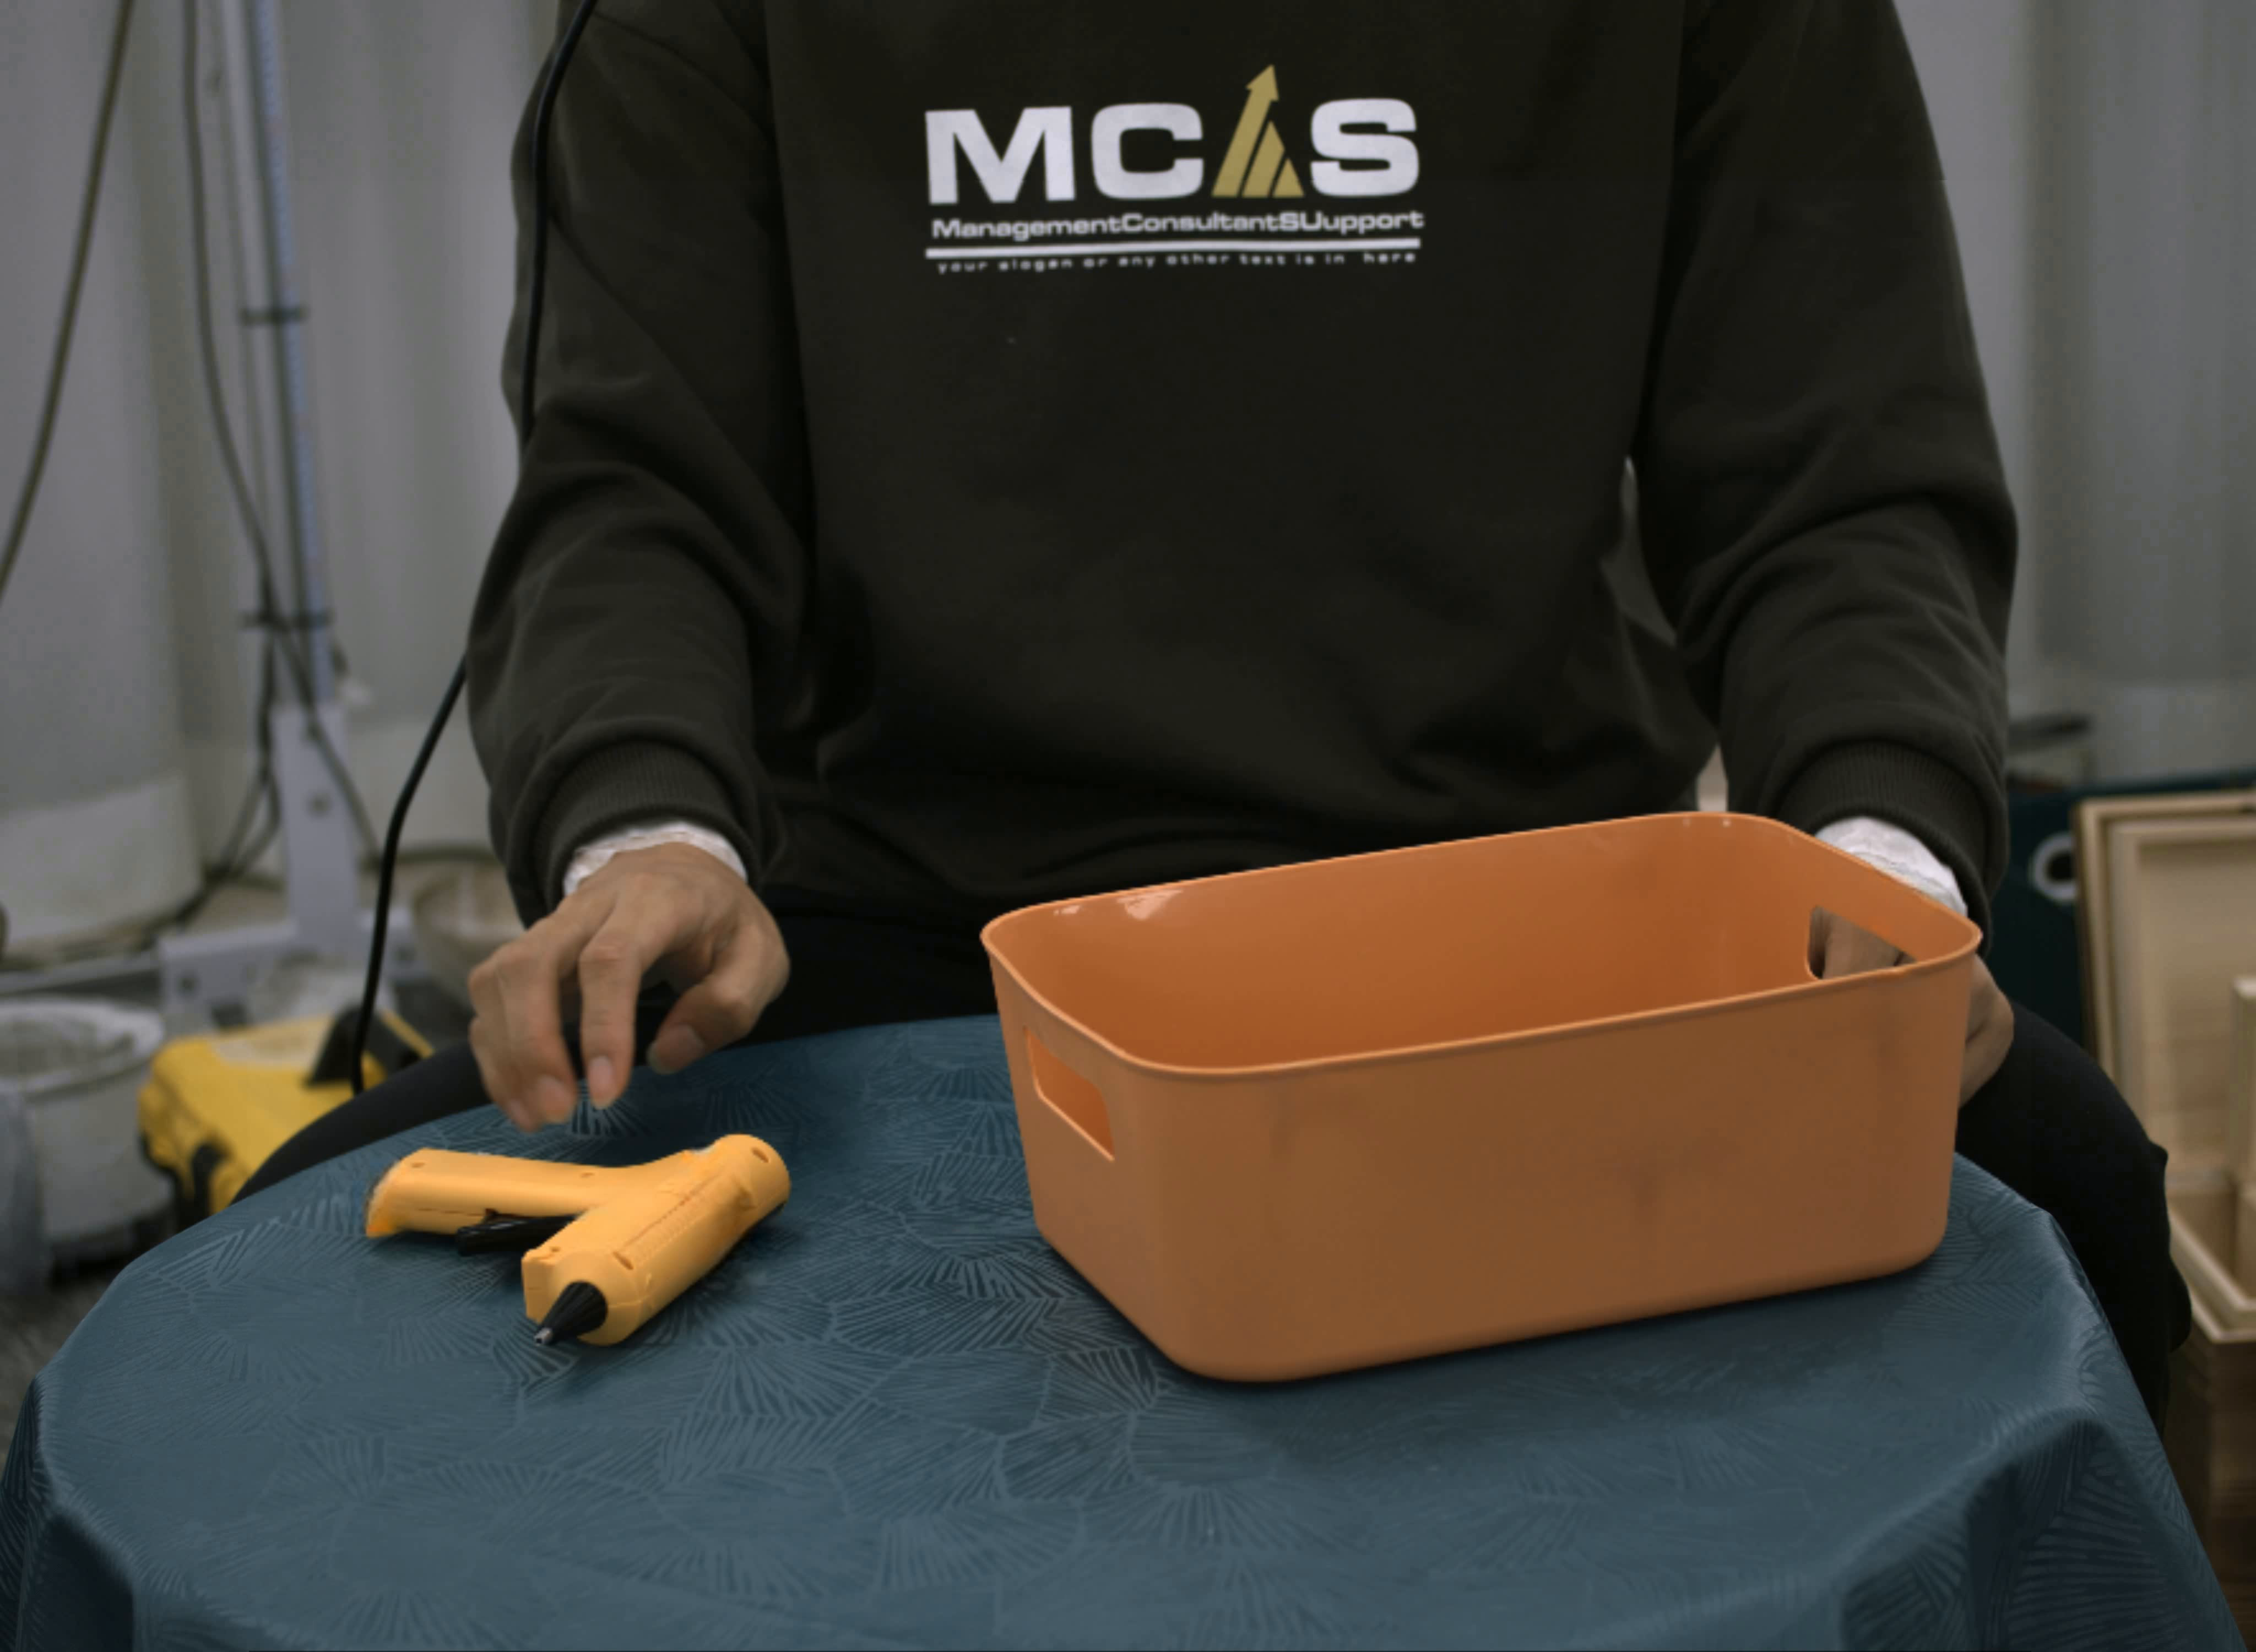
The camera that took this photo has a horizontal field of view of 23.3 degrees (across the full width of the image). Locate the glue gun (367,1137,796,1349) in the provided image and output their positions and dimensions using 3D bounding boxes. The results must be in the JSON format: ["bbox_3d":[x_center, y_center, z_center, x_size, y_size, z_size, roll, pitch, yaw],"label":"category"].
[{"bbox_3d":[-0.185,0.129,1.650,0.133,0.031,0.152,0,15,16],"label":"glue gun"}]

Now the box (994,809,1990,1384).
[{"bbox_3d":[0.107,0.078,1.634,0.272,0.102,0.201,-8,15,-18],"label":"box"}]
